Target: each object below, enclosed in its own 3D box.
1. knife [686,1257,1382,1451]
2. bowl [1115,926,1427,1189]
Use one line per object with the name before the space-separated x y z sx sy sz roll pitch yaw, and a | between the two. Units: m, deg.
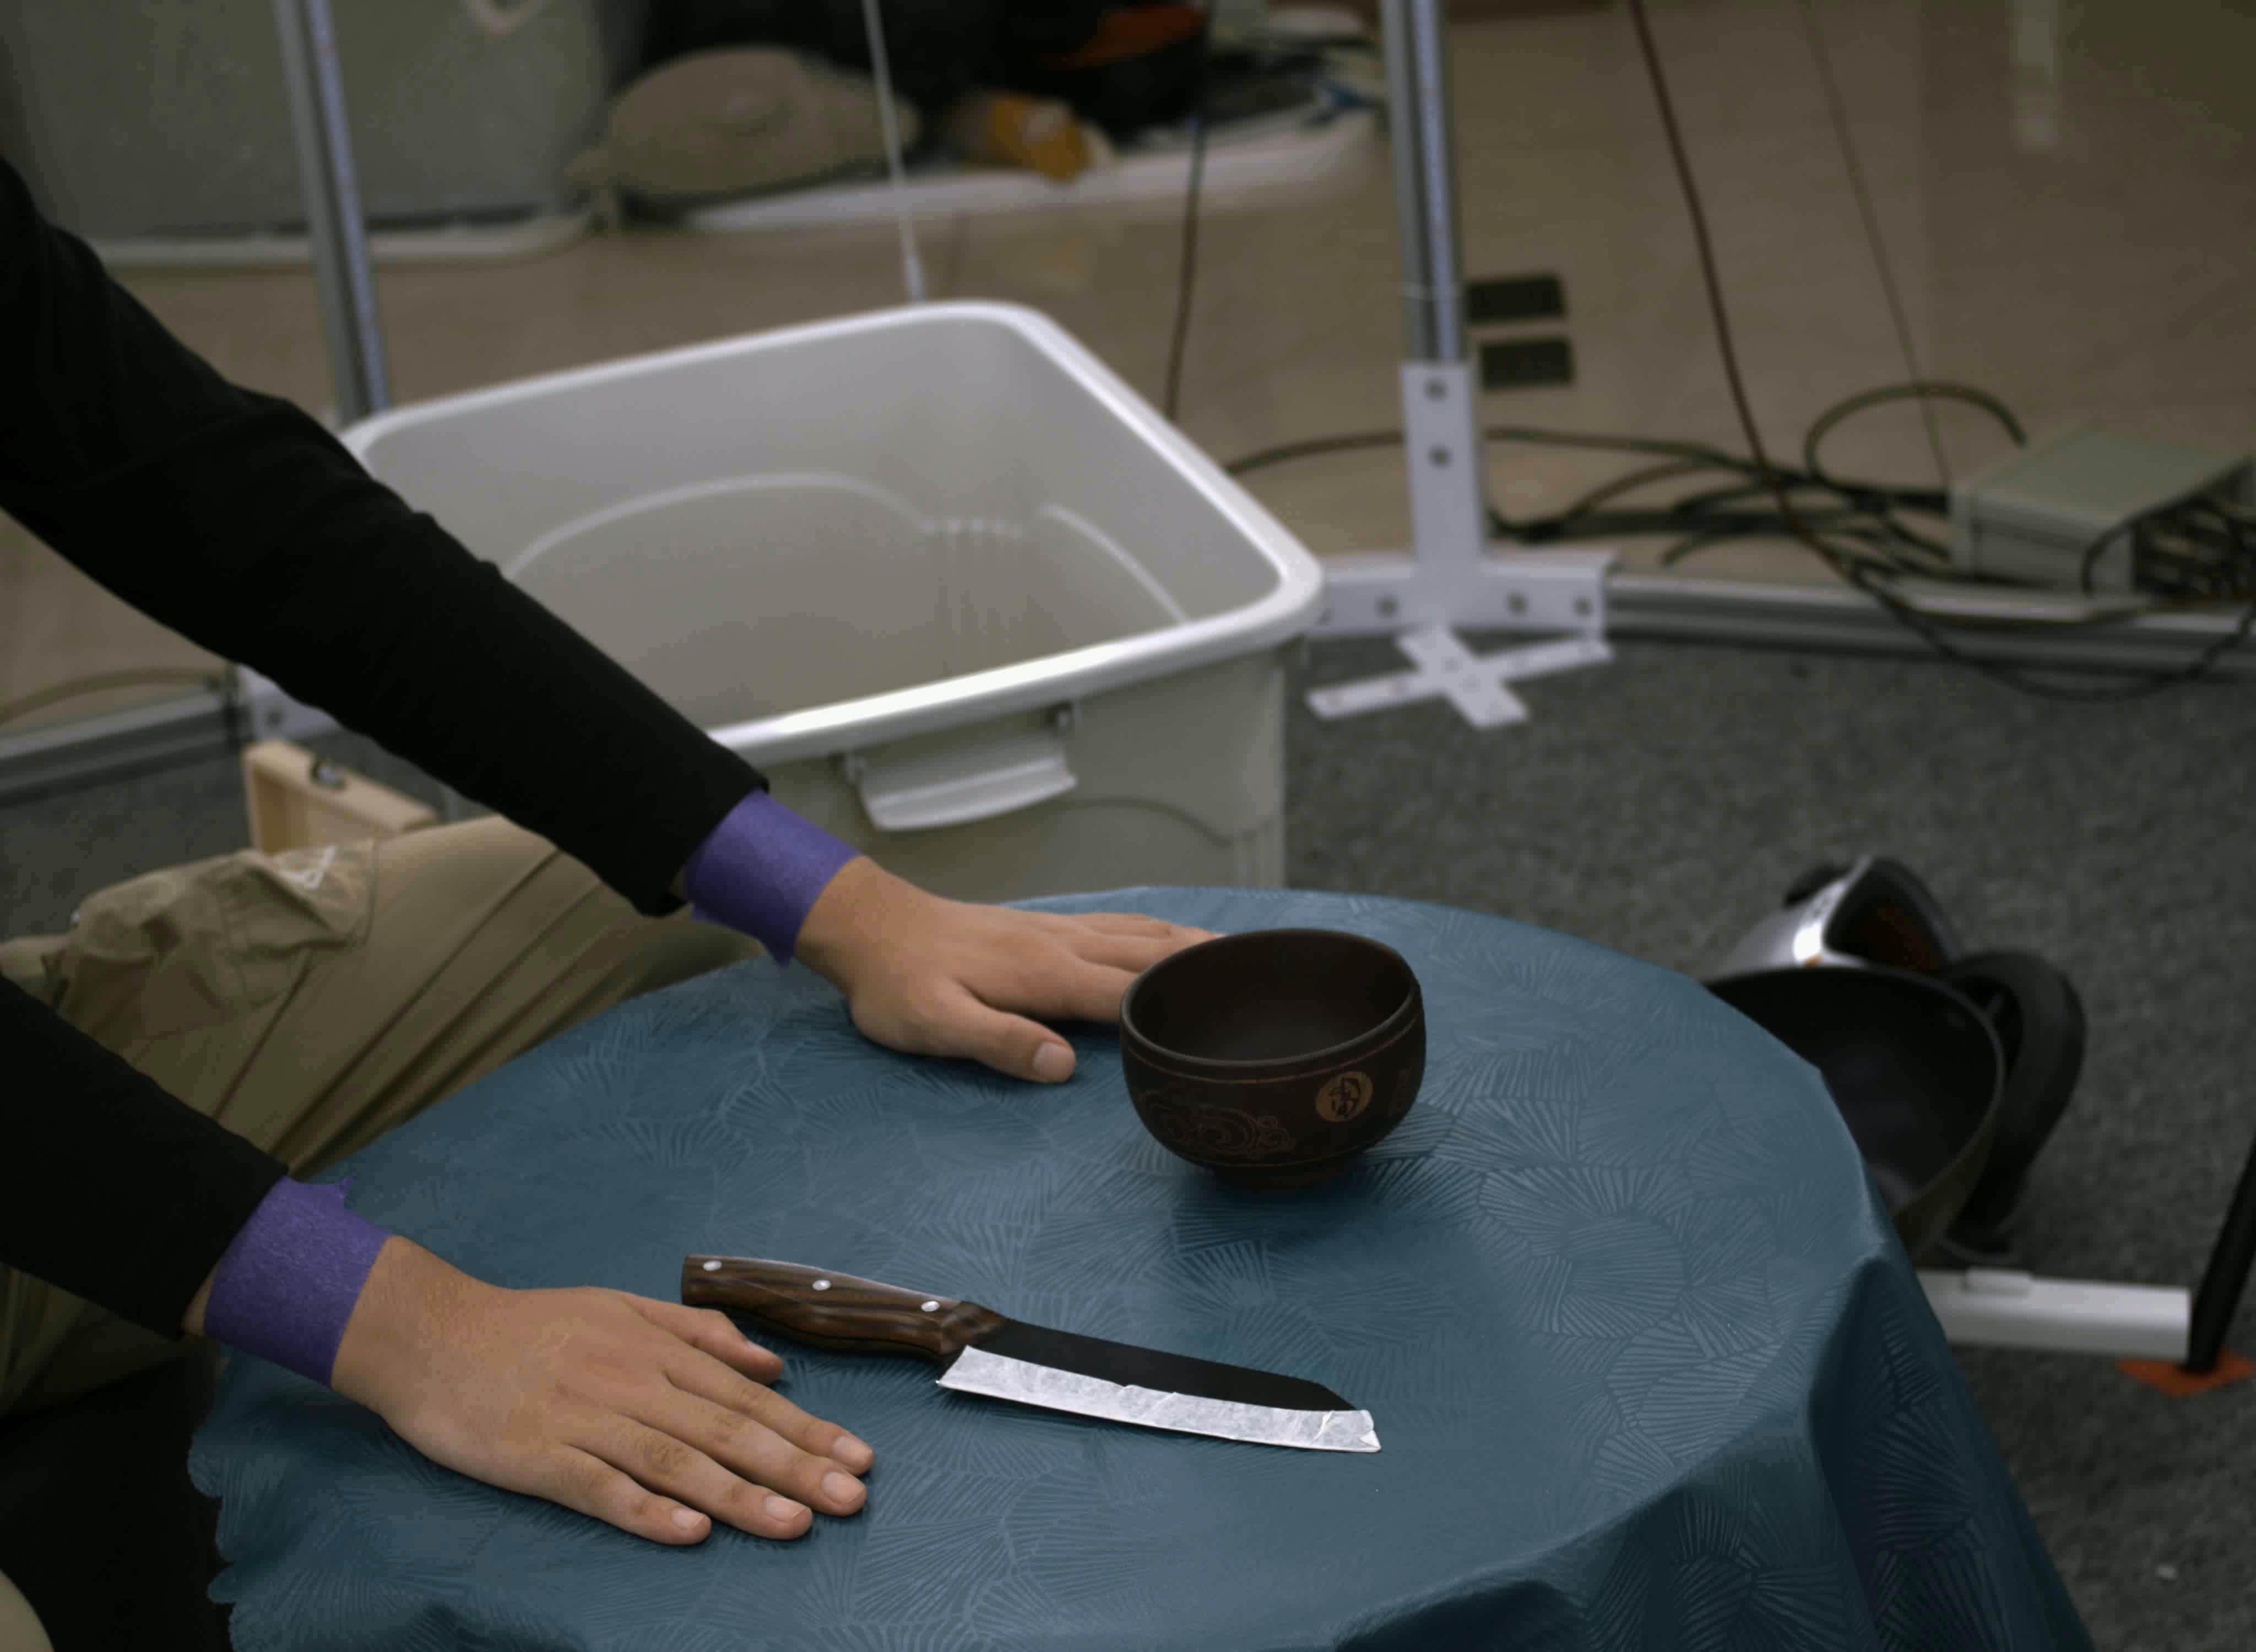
knife | -0.038 0.191 2.031 0.288 0.020 0.049 10 34 27
bowl | 0.056 0.094 2.149 0.118 0.071 0.116 -7 25 3
